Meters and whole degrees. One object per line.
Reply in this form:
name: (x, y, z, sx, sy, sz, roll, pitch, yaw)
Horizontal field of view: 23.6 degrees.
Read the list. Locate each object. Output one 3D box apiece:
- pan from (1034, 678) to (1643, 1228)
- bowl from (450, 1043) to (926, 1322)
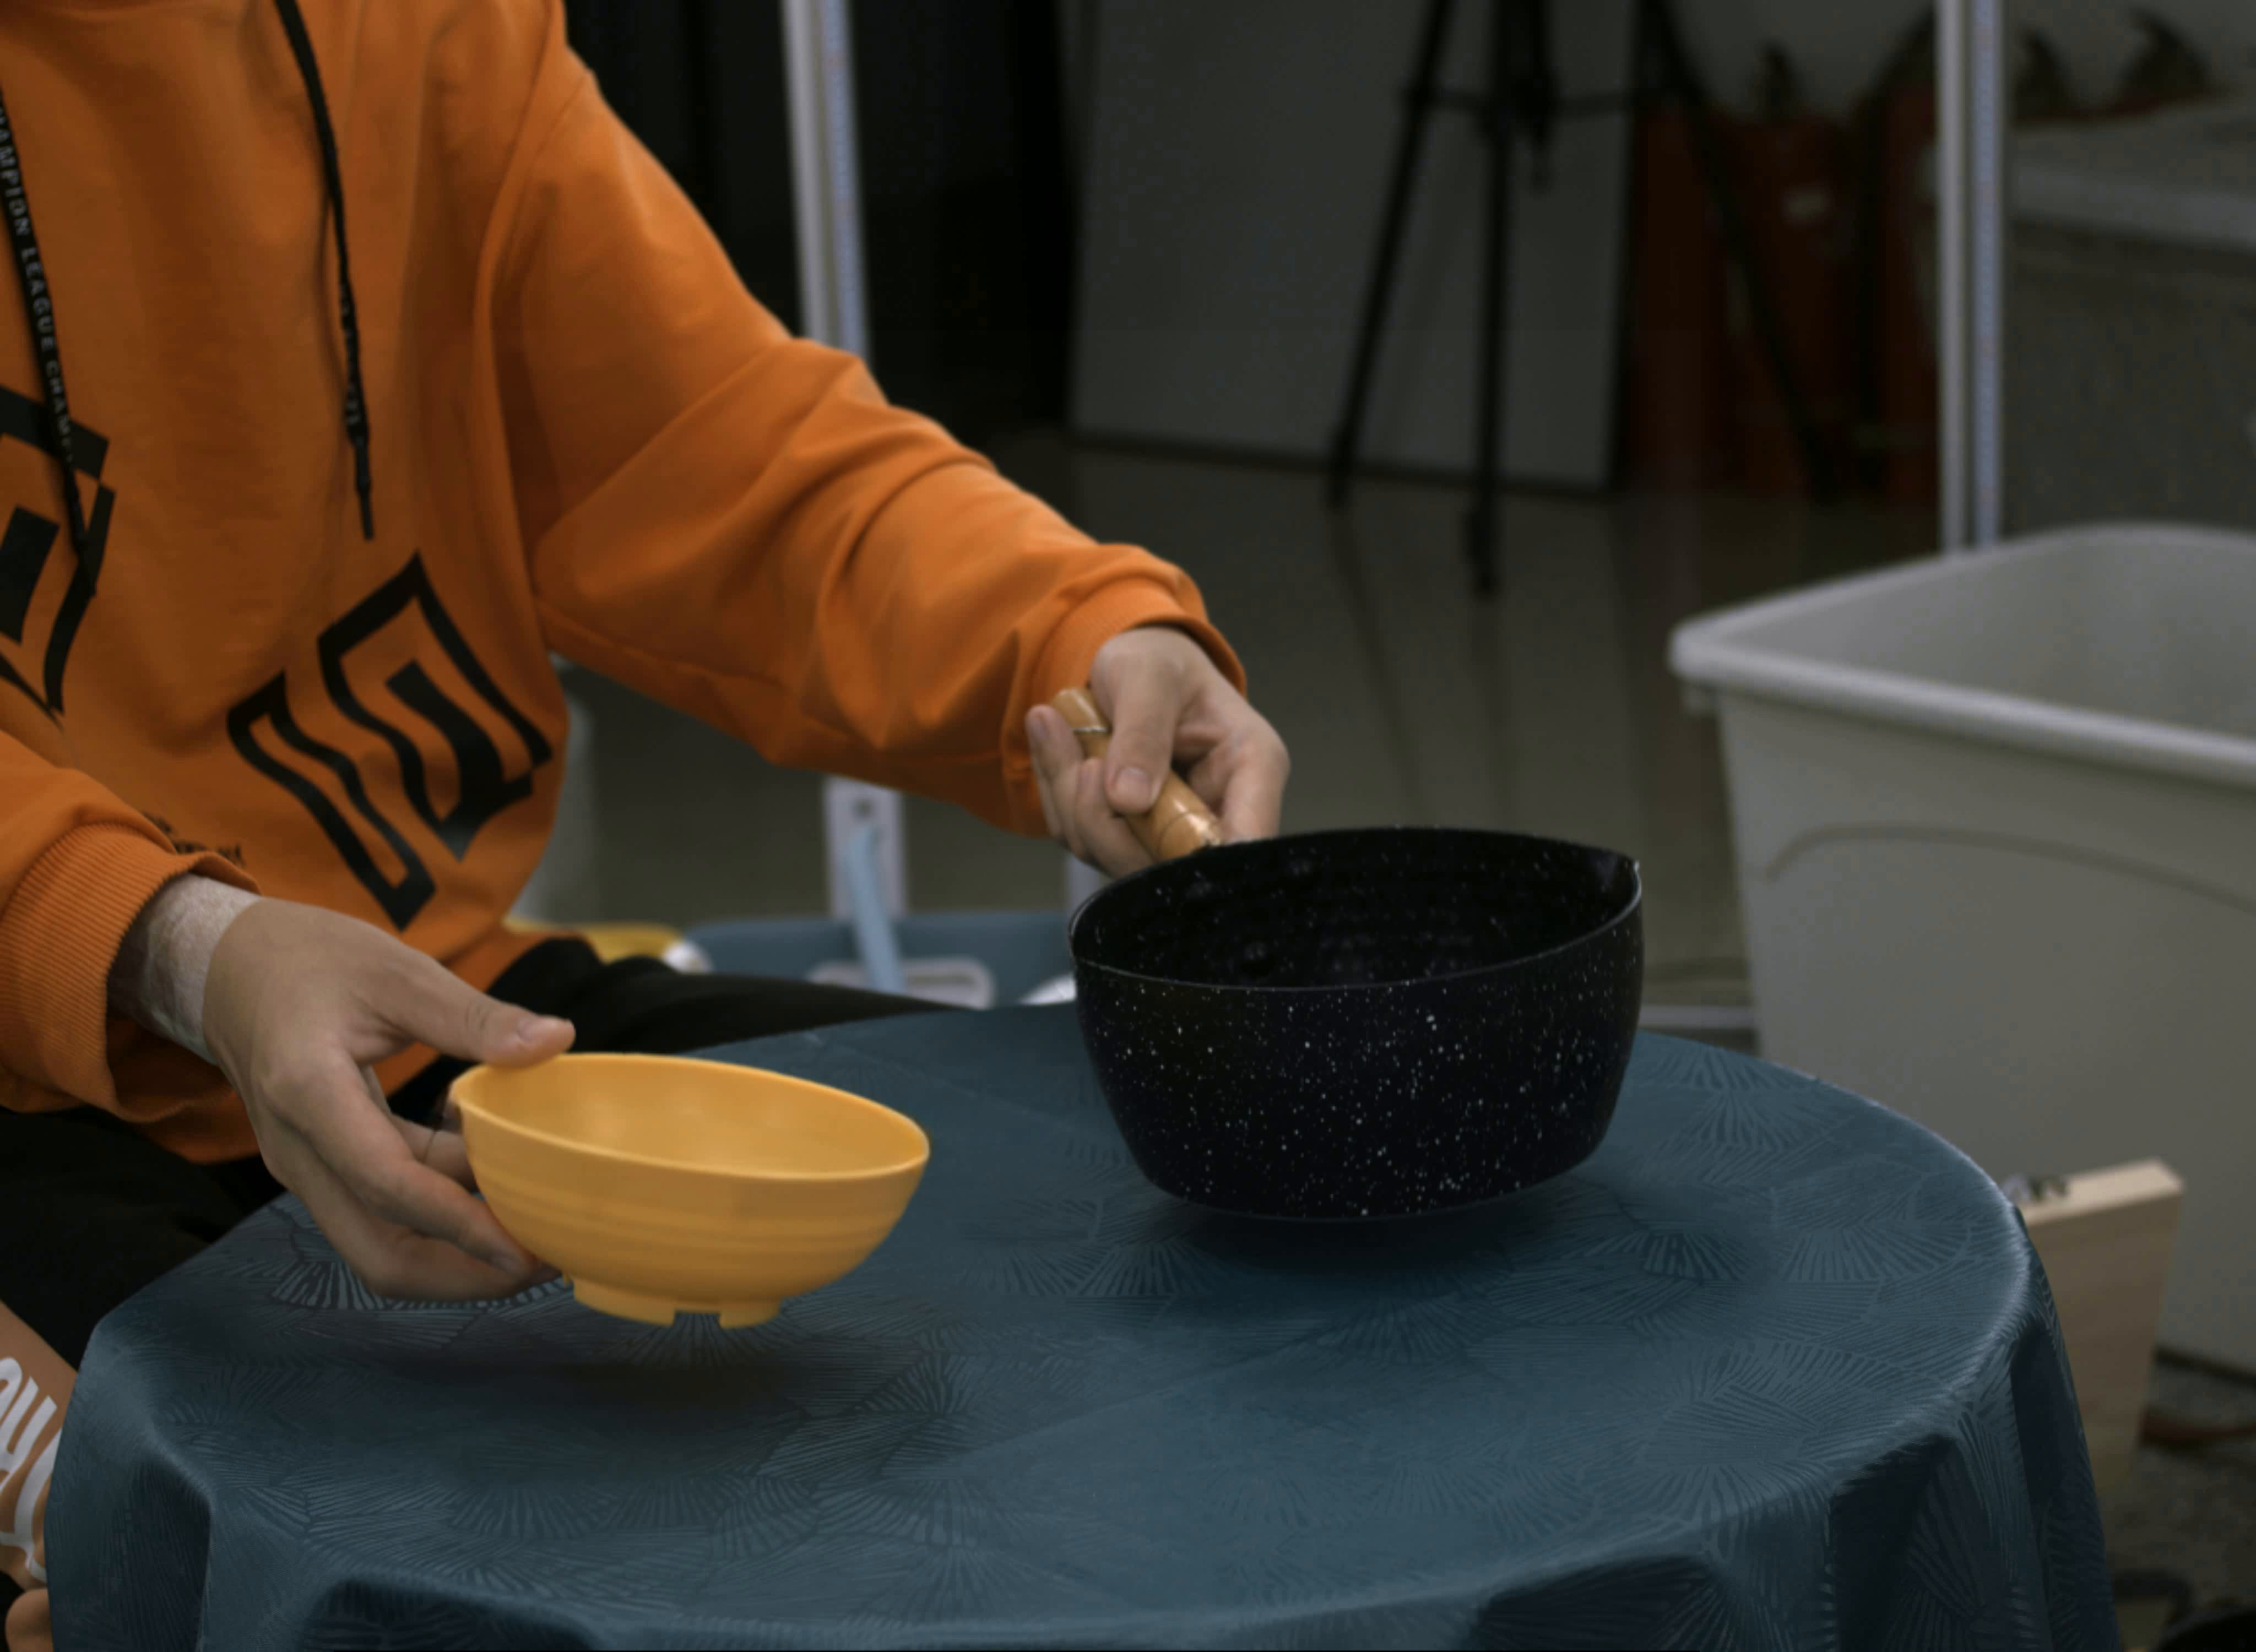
pan: (0.044, 0.036, 1.792, 0.203, 0.109, 0.346, -13, 17, -20)
bowl: (-0.135, 0.111, 1.610, 0.143, 0.061, 0.145, 9, 7, -2)
